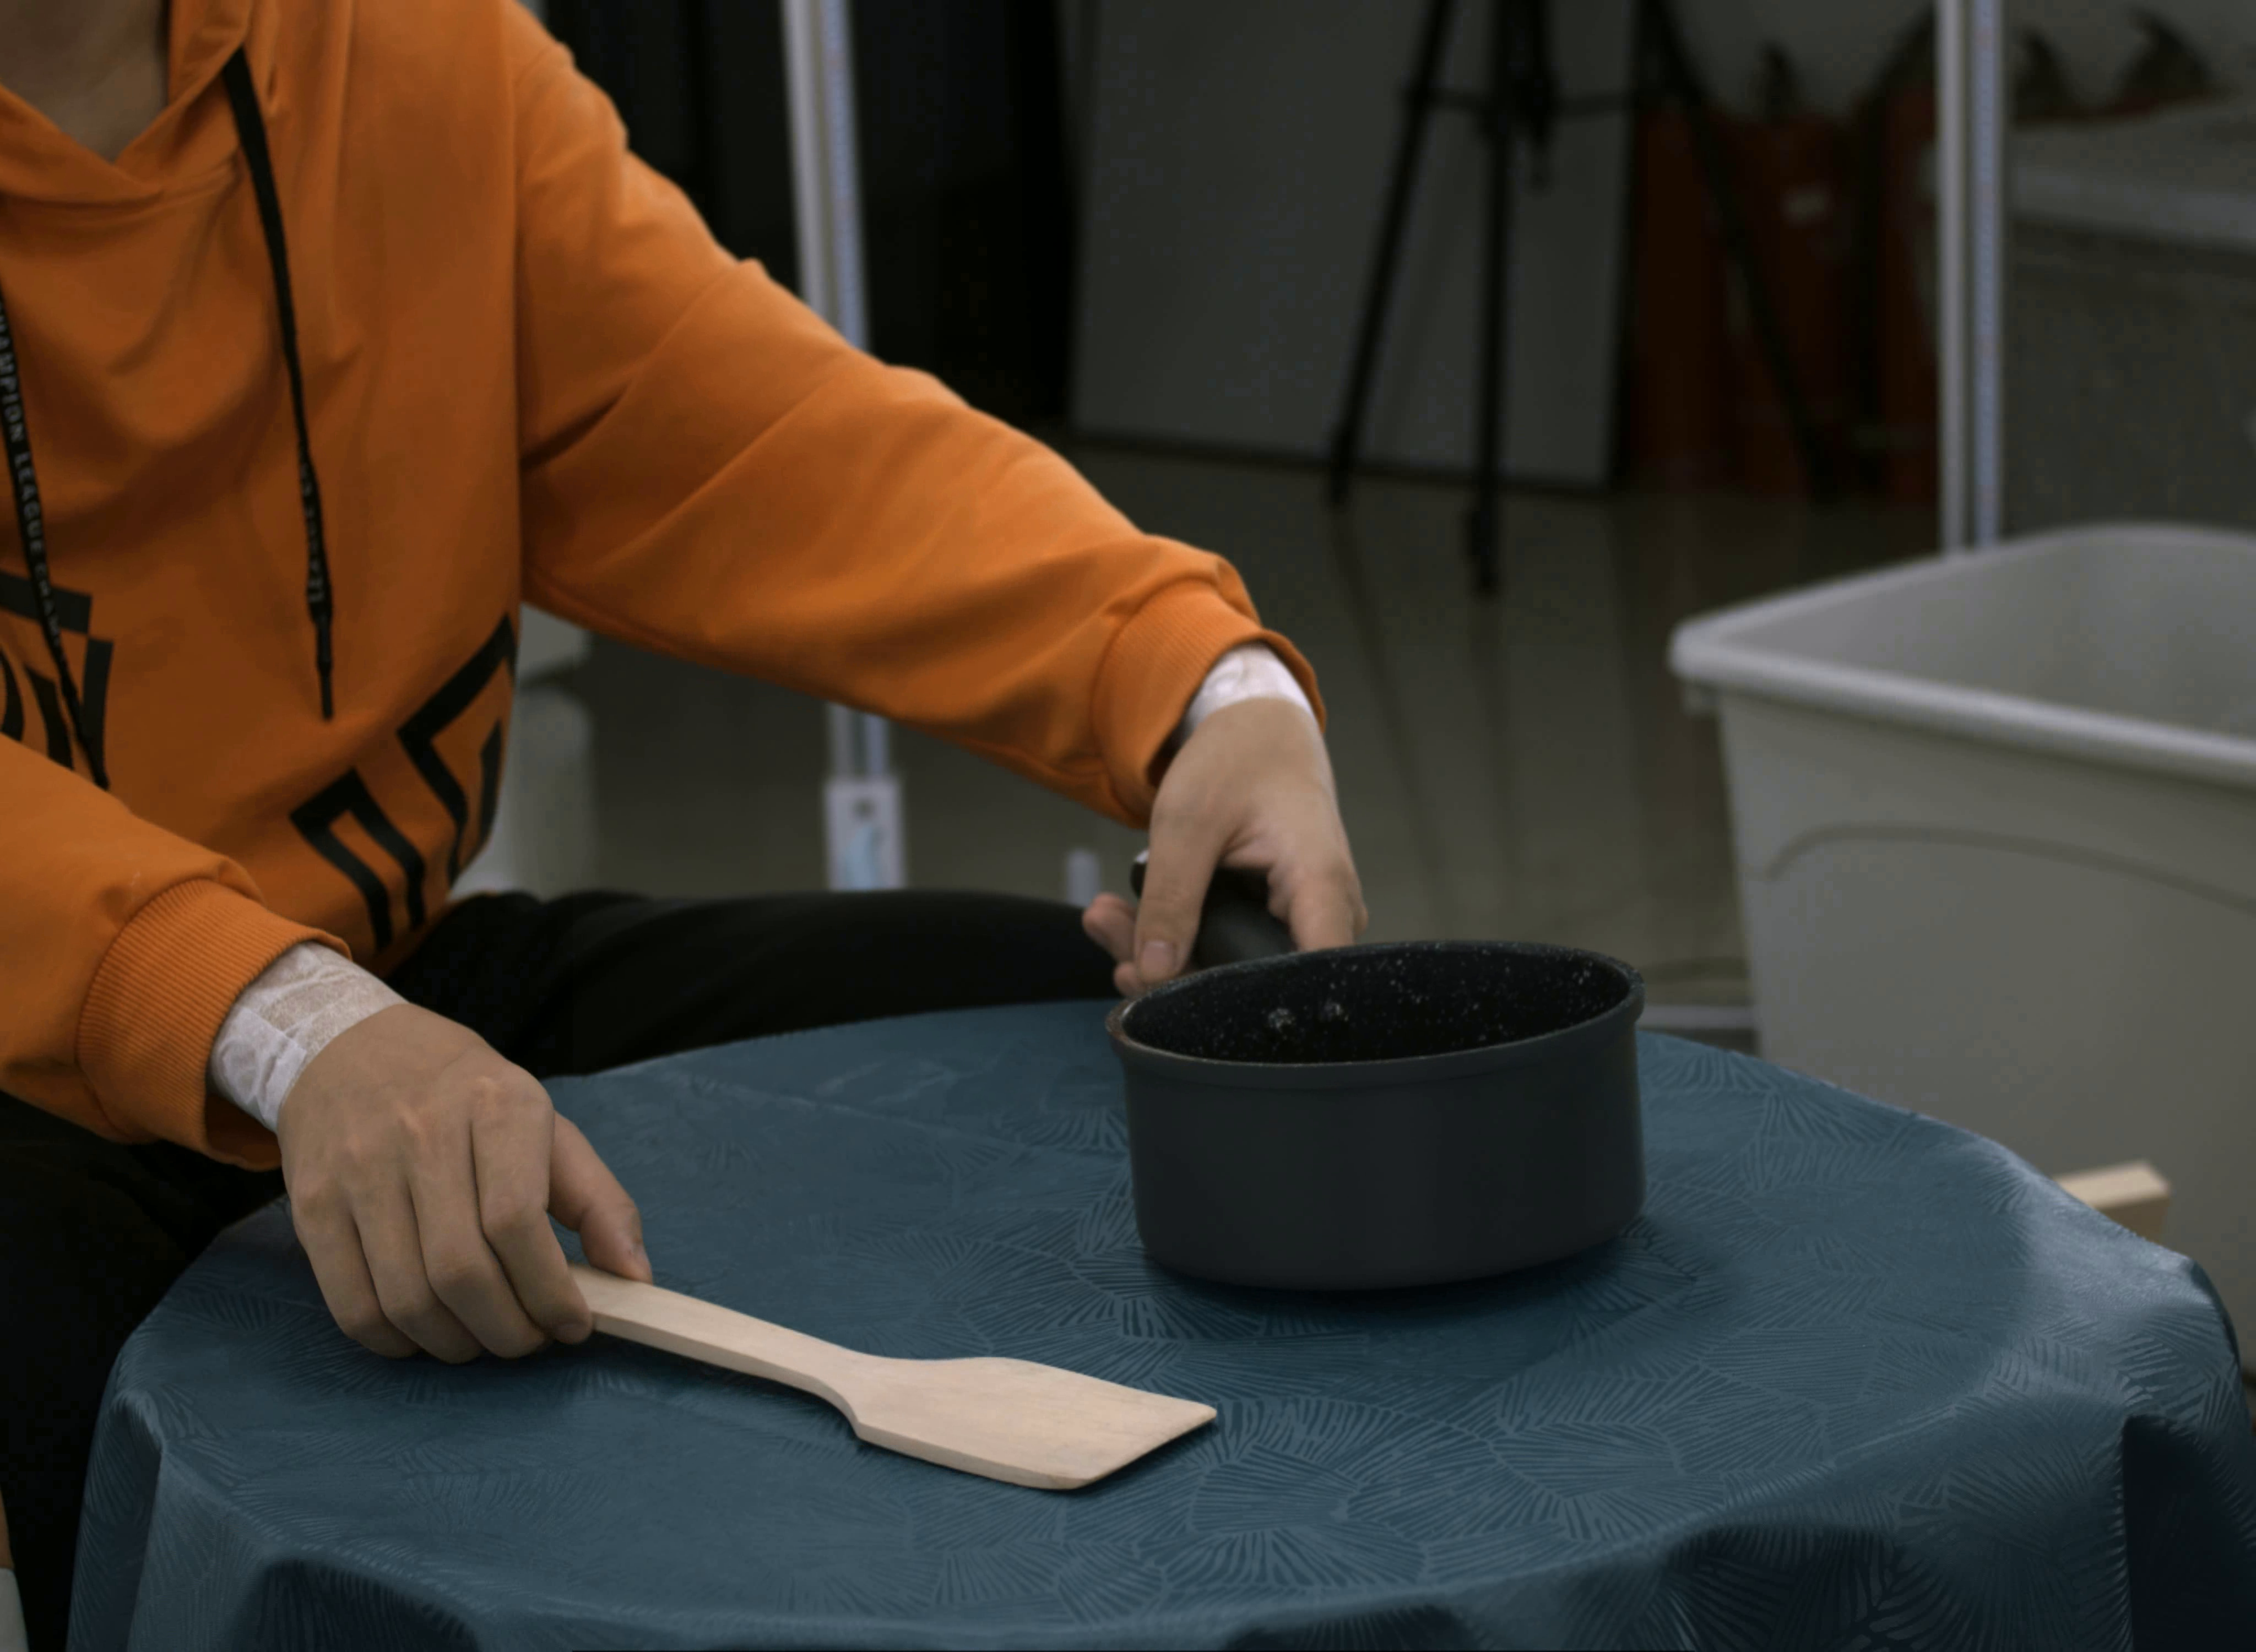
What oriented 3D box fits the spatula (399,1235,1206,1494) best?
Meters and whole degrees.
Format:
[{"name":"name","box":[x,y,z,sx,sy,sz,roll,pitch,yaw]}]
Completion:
[{"name":"spatula","box":[-0.110,0.157,1.617,0.295,0.011,0.071,11,22,38]}]

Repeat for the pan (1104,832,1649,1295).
[{"name":"pan","box":[0.064,0.074,1.771,0.169,0.087,0.331,-7,11,-10]}]
